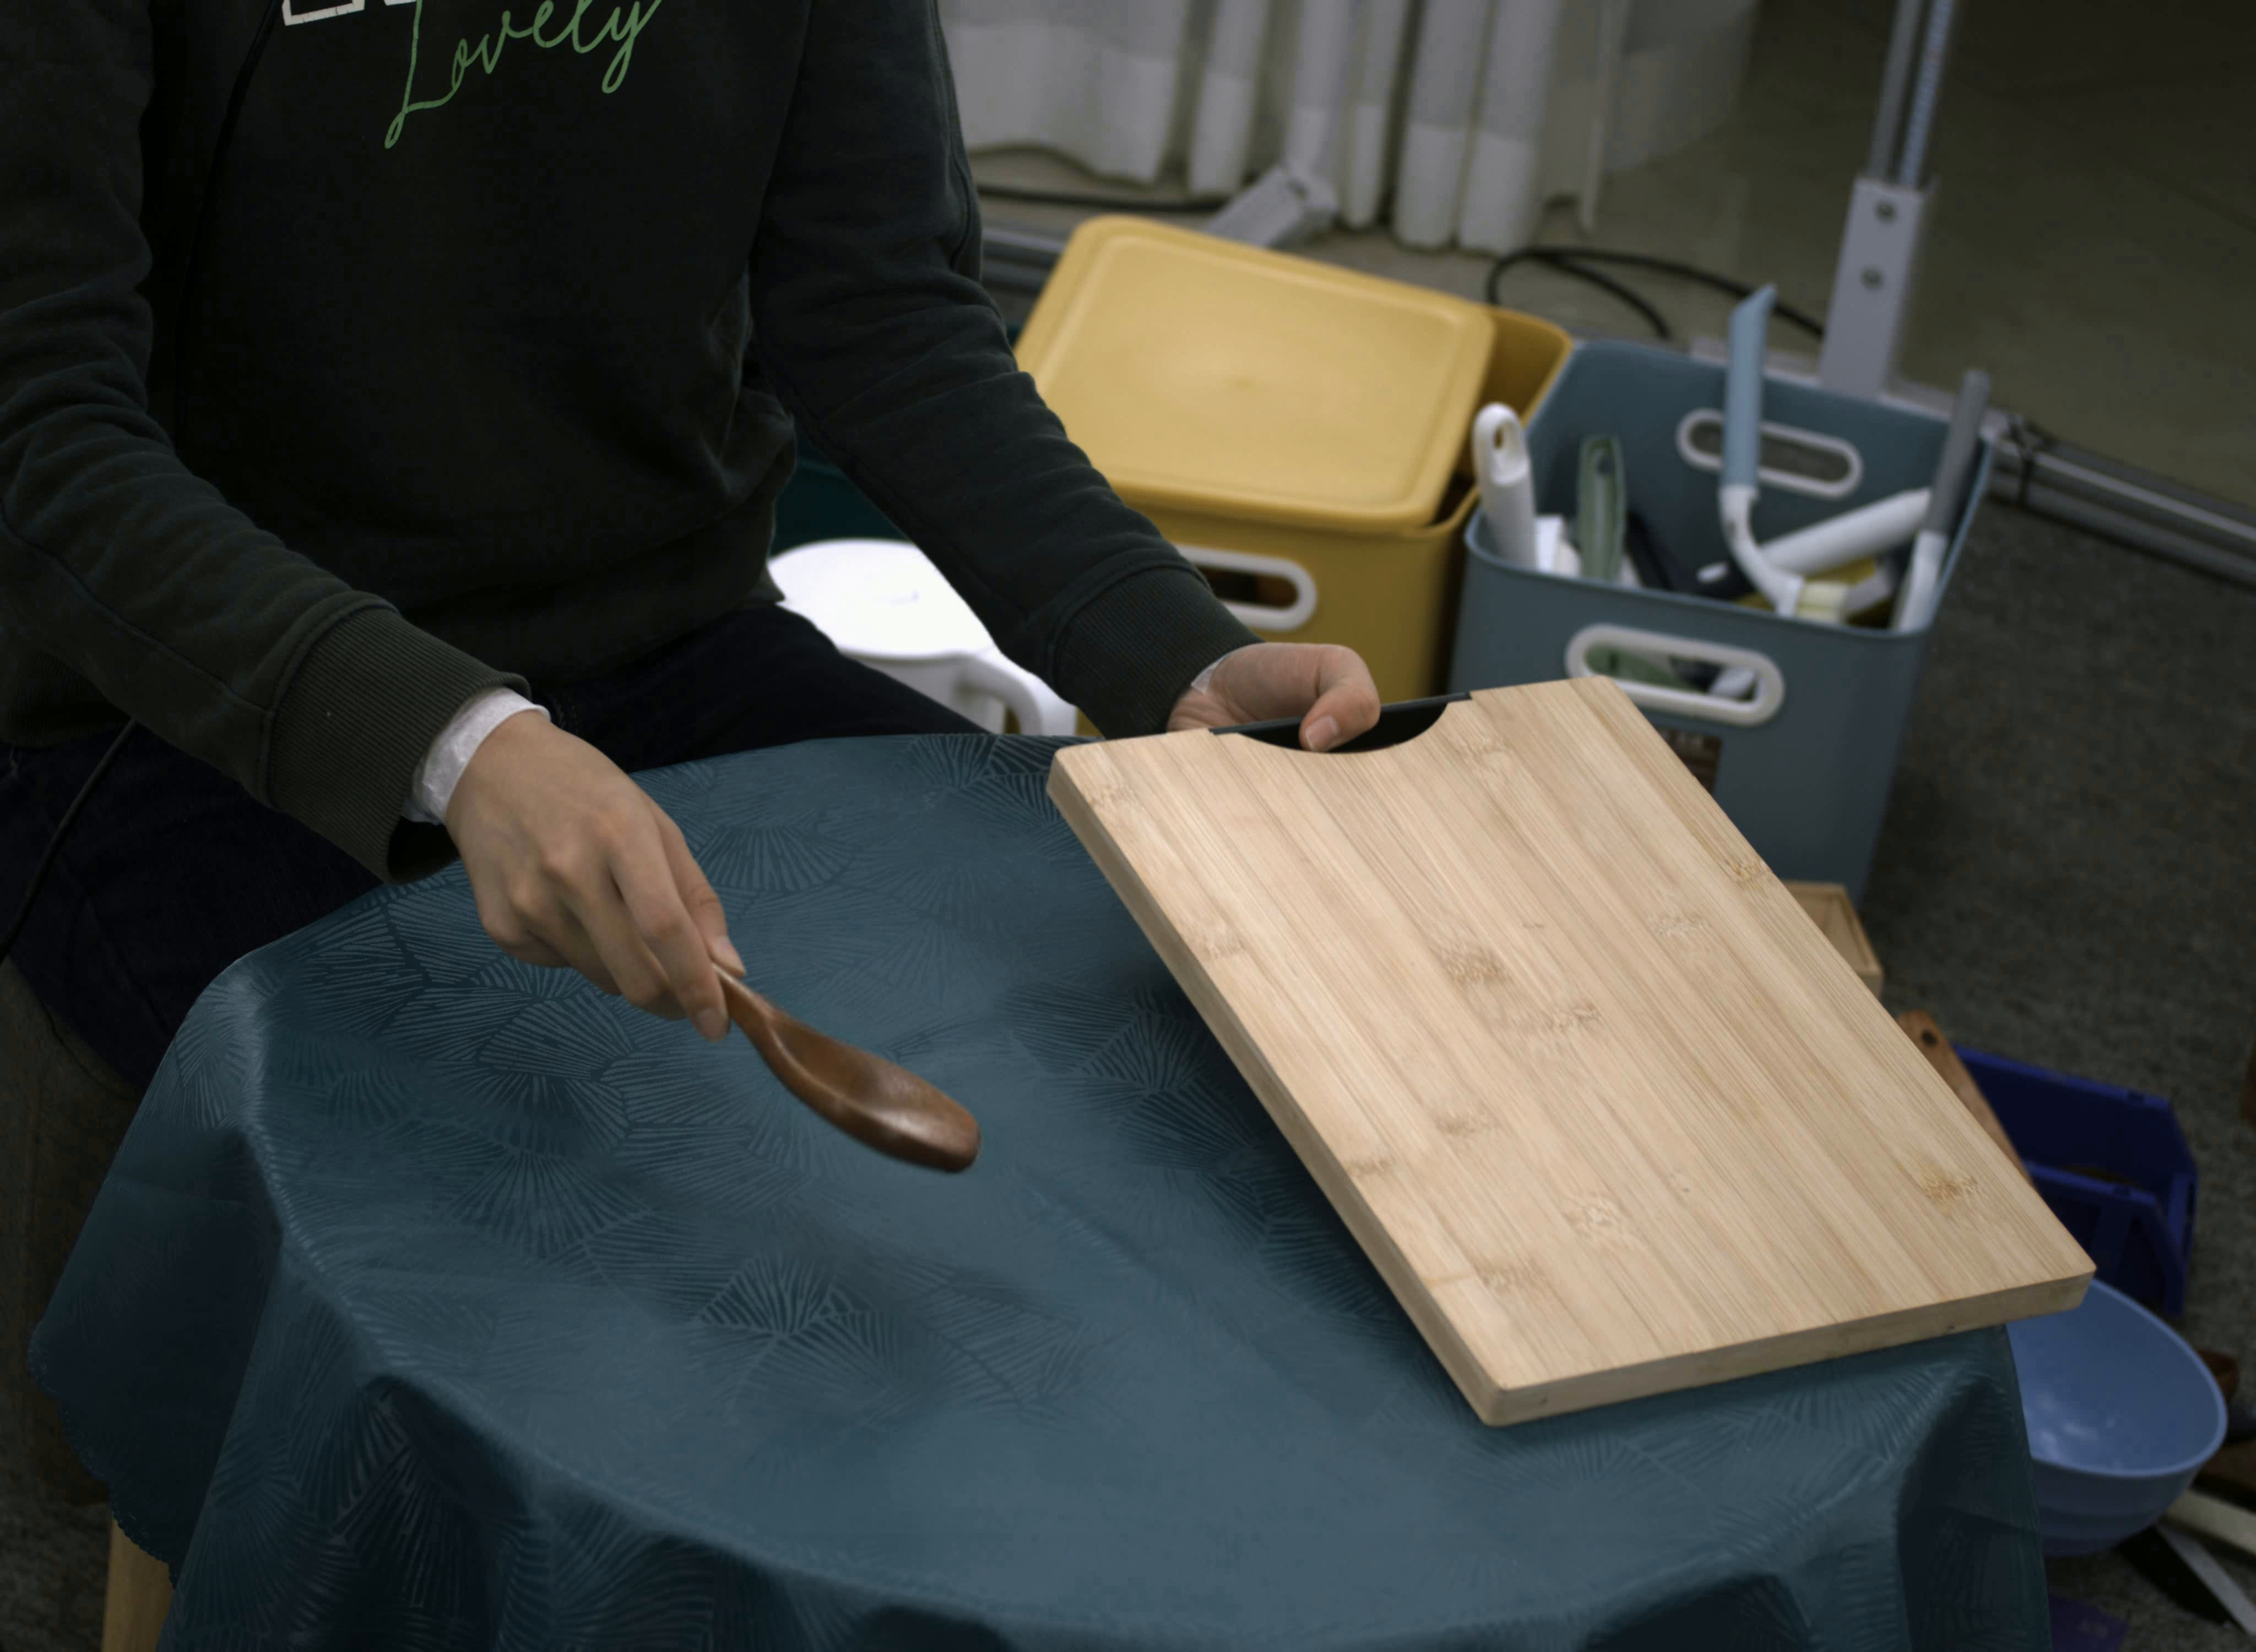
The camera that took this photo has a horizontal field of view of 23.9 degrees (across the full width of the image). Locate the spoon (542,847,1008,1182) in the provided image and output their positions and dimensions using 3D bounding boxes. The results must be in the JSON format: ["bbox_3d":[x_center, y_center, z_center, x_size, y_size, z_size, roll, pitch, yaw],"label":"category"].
[{"bbox_3d":[-0.121,0.063,1.739,0.217,0.017,0.075,35,17,36],"label":"spoon"}]

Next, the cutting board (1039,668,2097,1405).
[{"bbox_3d":[0.146,0.065,1.859,0.249,0.023,0.352,-8,41,-28],"label":"cutting board"}]
